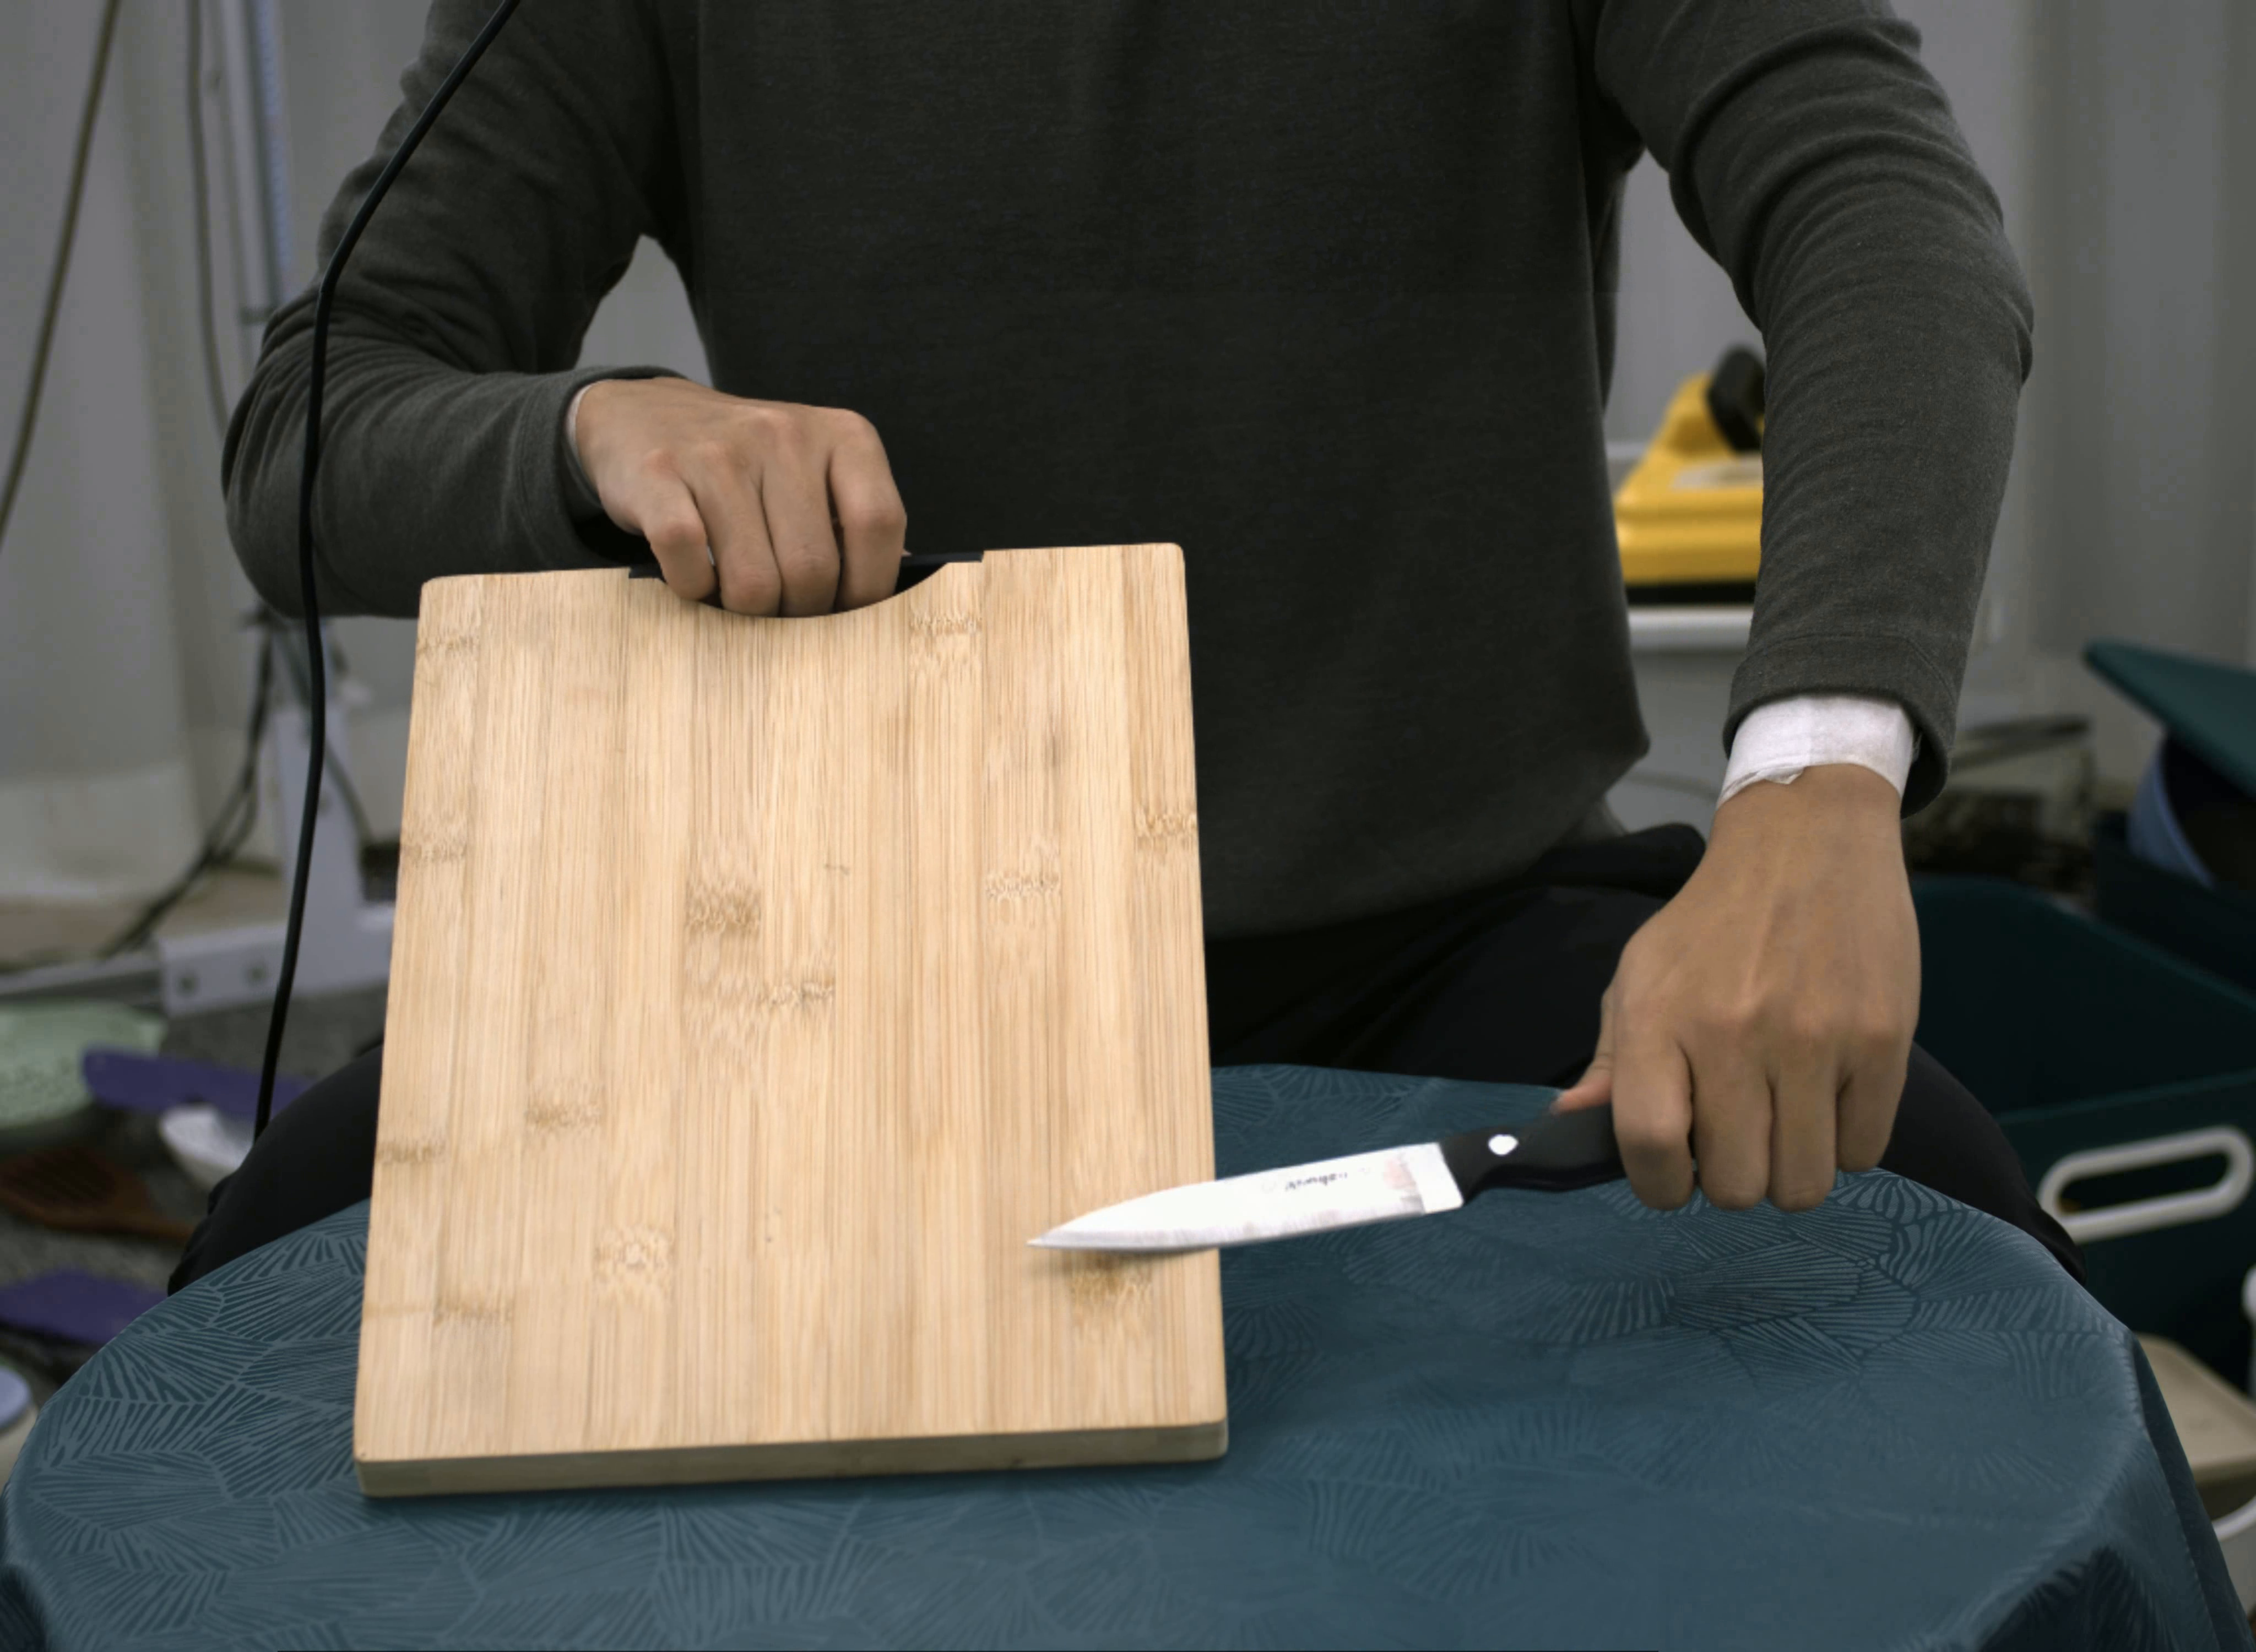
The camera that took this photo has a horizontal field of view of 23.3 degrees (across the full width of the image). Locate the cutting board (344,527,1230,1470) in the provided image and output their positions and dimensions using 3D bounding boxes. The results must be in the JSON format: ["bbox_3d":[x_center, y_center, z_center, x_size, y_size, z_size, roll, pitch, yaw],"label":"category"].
[{"bbox_3d":[-0.095,0.044,1.609,0.250,0.023,0.354,-3,47,0],"label":"cutting board"}]

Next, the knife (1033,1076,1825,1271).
[{"bbox_3d":[0.085,0.099,1.543,0.237,0.016,0.025,-10,55,-16],"label":"knife"}]
